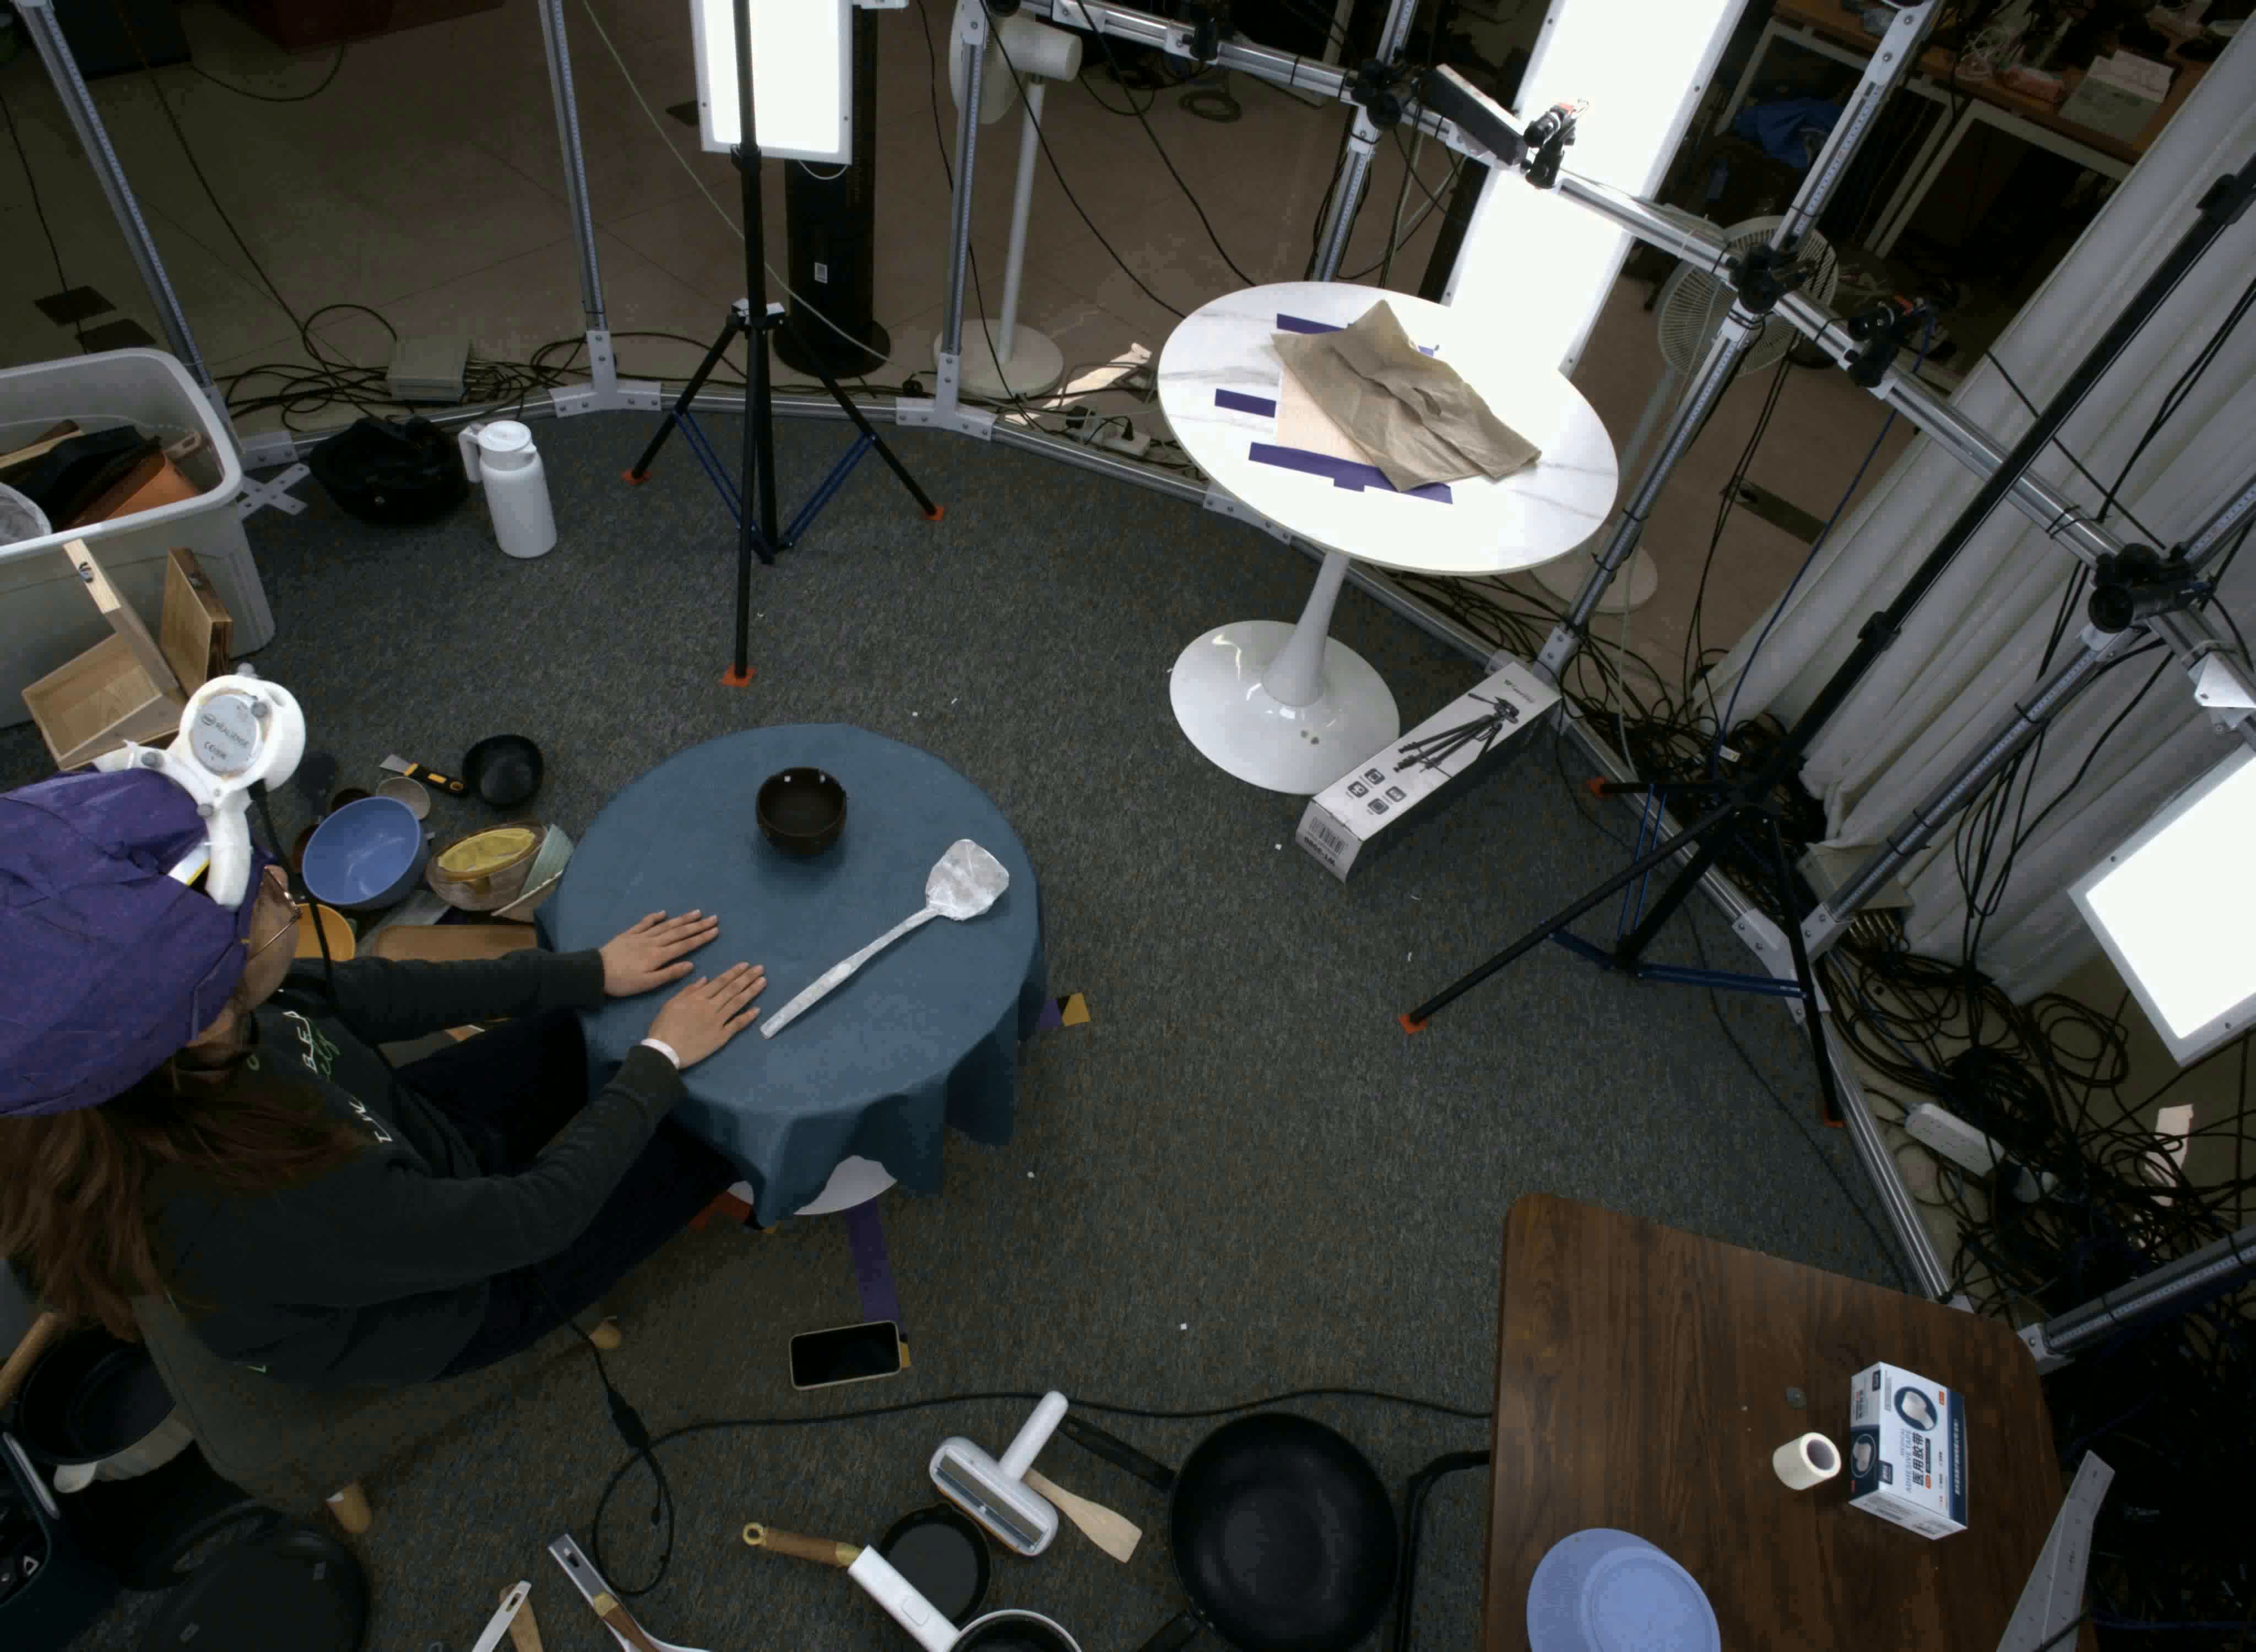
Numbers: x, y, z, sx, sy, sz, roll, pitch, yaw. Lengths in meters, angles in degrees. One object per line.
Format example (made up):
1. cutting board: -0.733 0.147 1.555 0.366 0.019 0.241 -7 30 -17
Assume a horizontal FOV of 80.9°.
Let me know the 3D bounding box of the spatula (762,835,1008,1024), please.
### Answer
1. spatula: -0.306 0.136 1.634 0.097 0.045 0.366 43 55 16

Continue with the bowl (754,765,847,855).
1. bowl: -0.426 -0.014 1.693 0.117 0.071 0.116 6 52 -6
